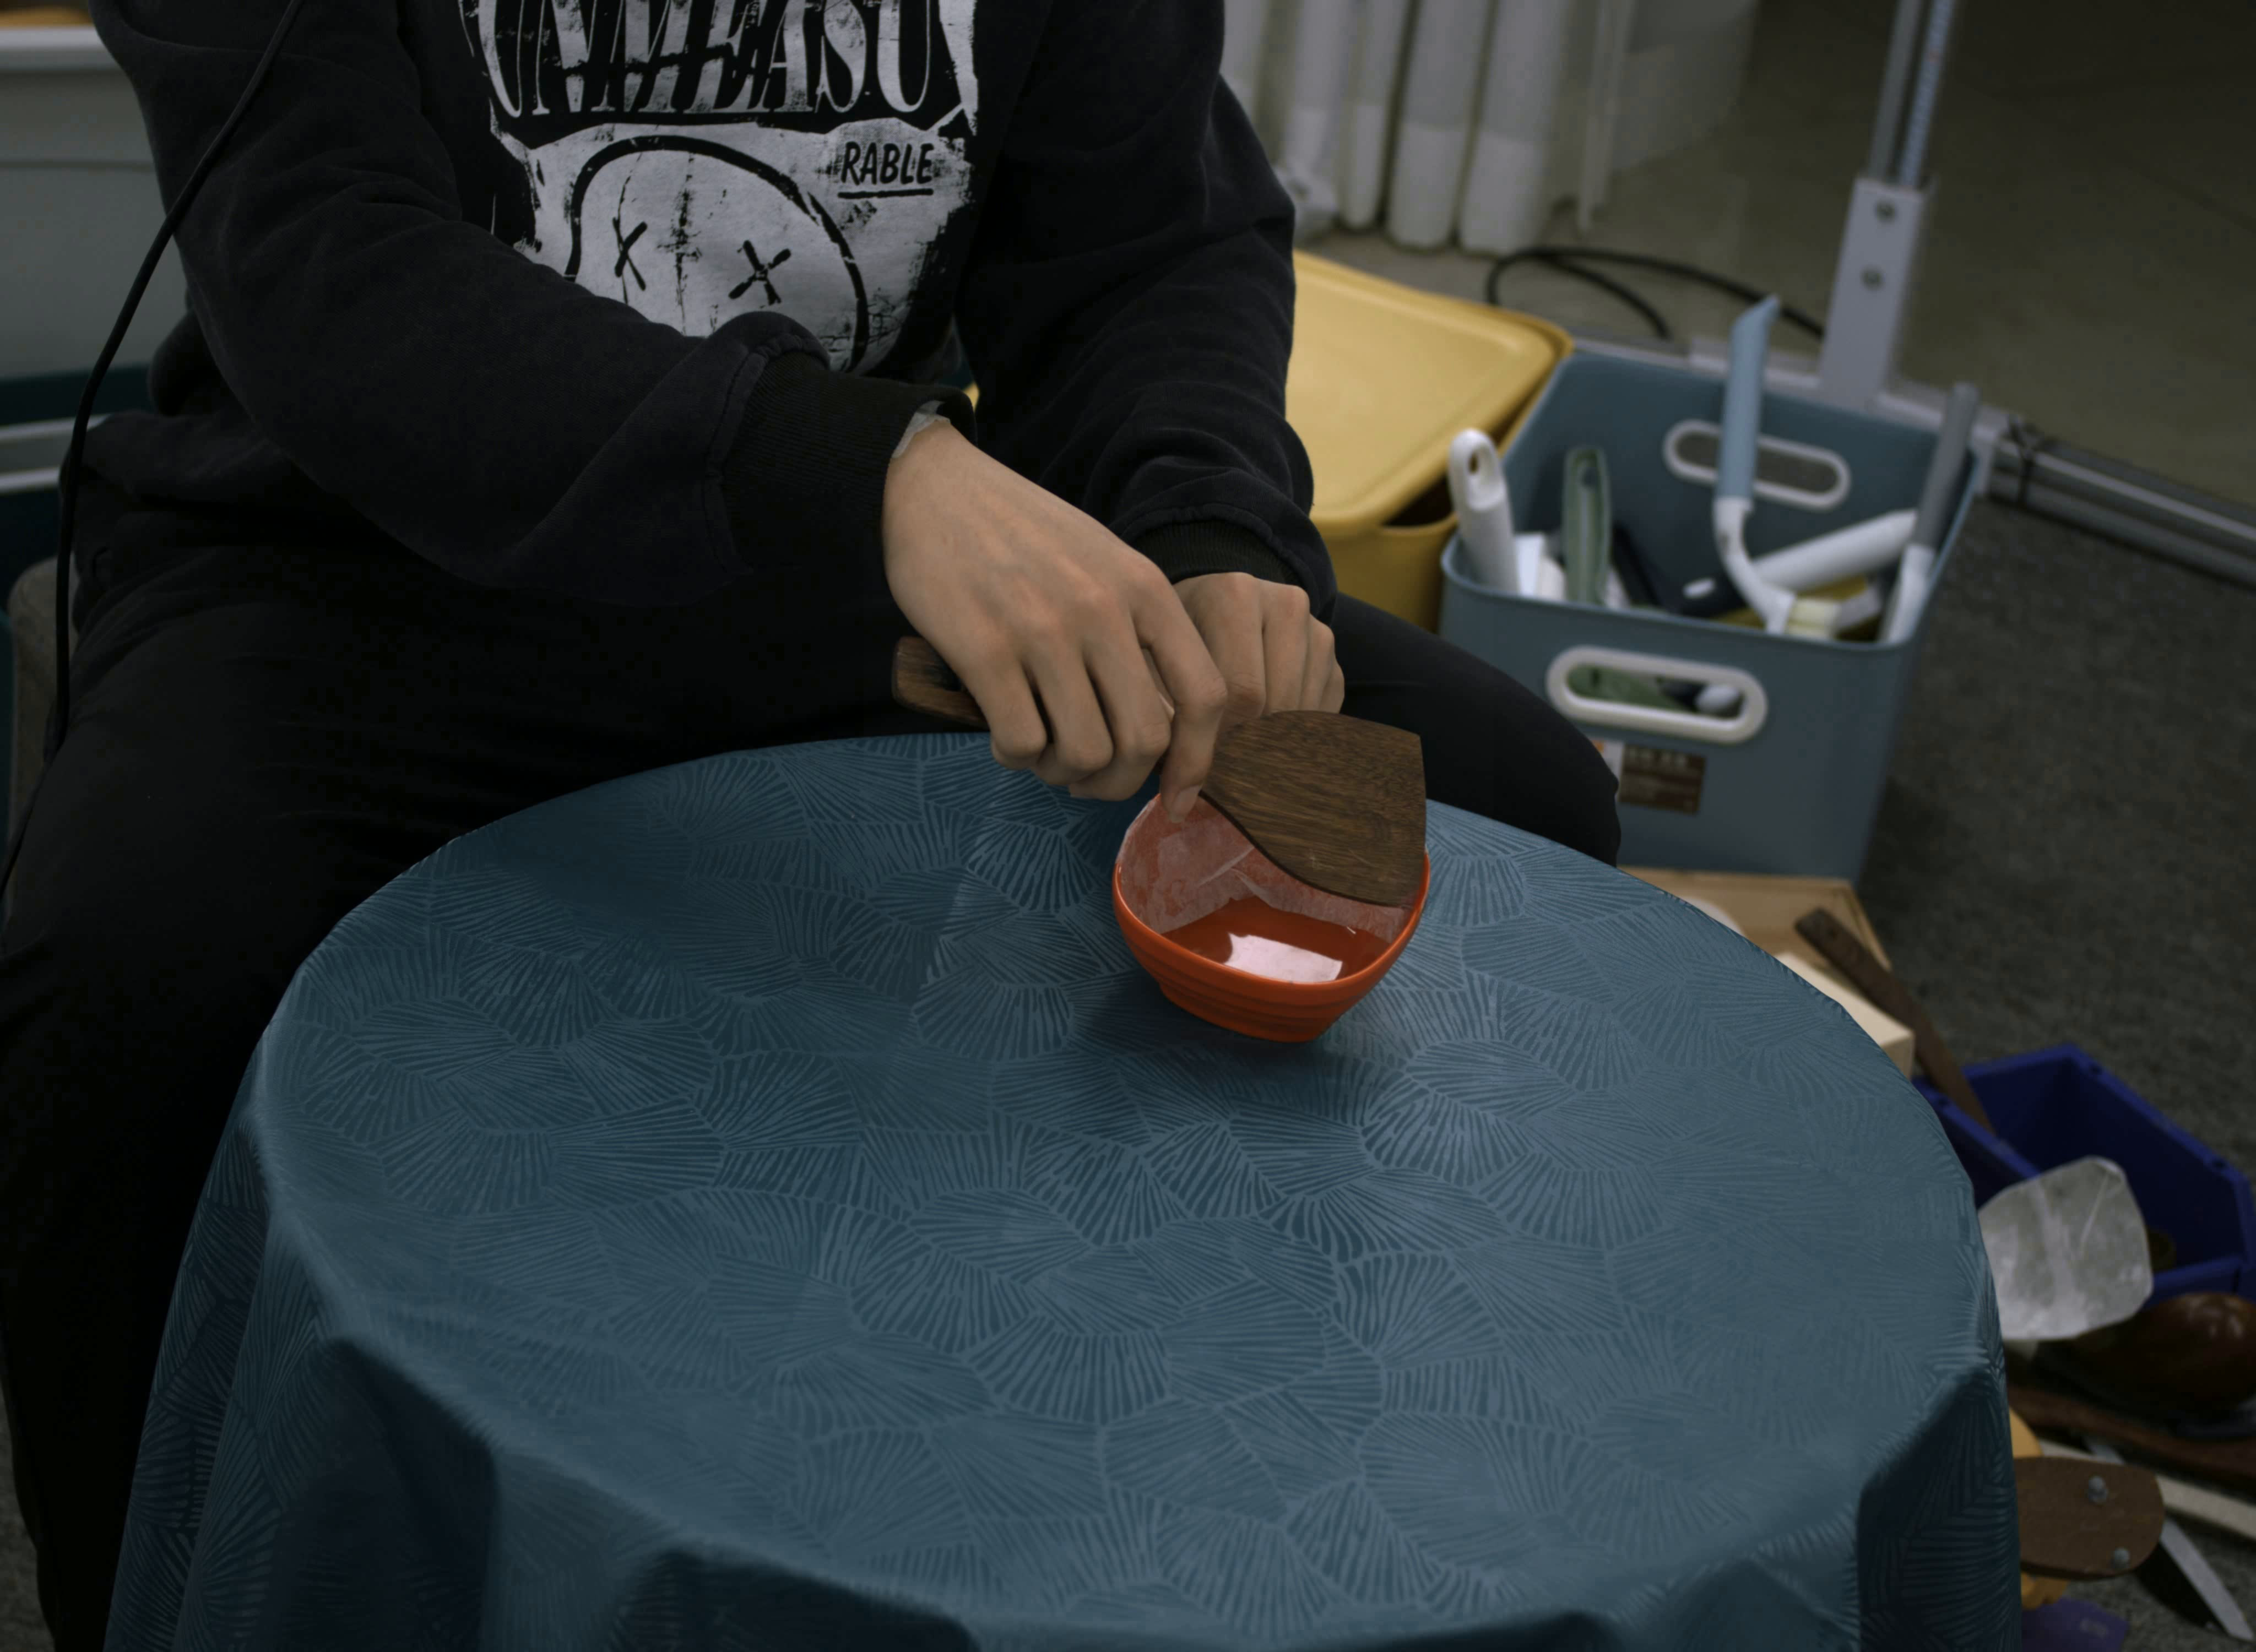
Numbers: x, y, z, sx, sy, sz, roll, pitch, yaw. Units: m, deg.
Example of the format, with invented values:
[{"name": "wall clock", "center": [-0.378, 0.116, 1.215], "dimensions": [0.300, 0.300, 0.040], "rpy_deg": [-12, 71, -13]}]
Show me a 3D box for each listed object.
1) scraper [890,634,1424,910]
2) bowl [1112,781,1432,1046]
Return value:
[{"name": "scraper", "center": [0.011, -0.027, 1.870], "dimensions": [0.209, 0.011, 0.076], "rpy_deg": [17, 57, -22]}, {"name": "bowl", "center": [0.050, 0.035, 1.915], "dimensions": [0.118, 0.051, 0.120], "rpy_deg": [3, 43, -3]}]
